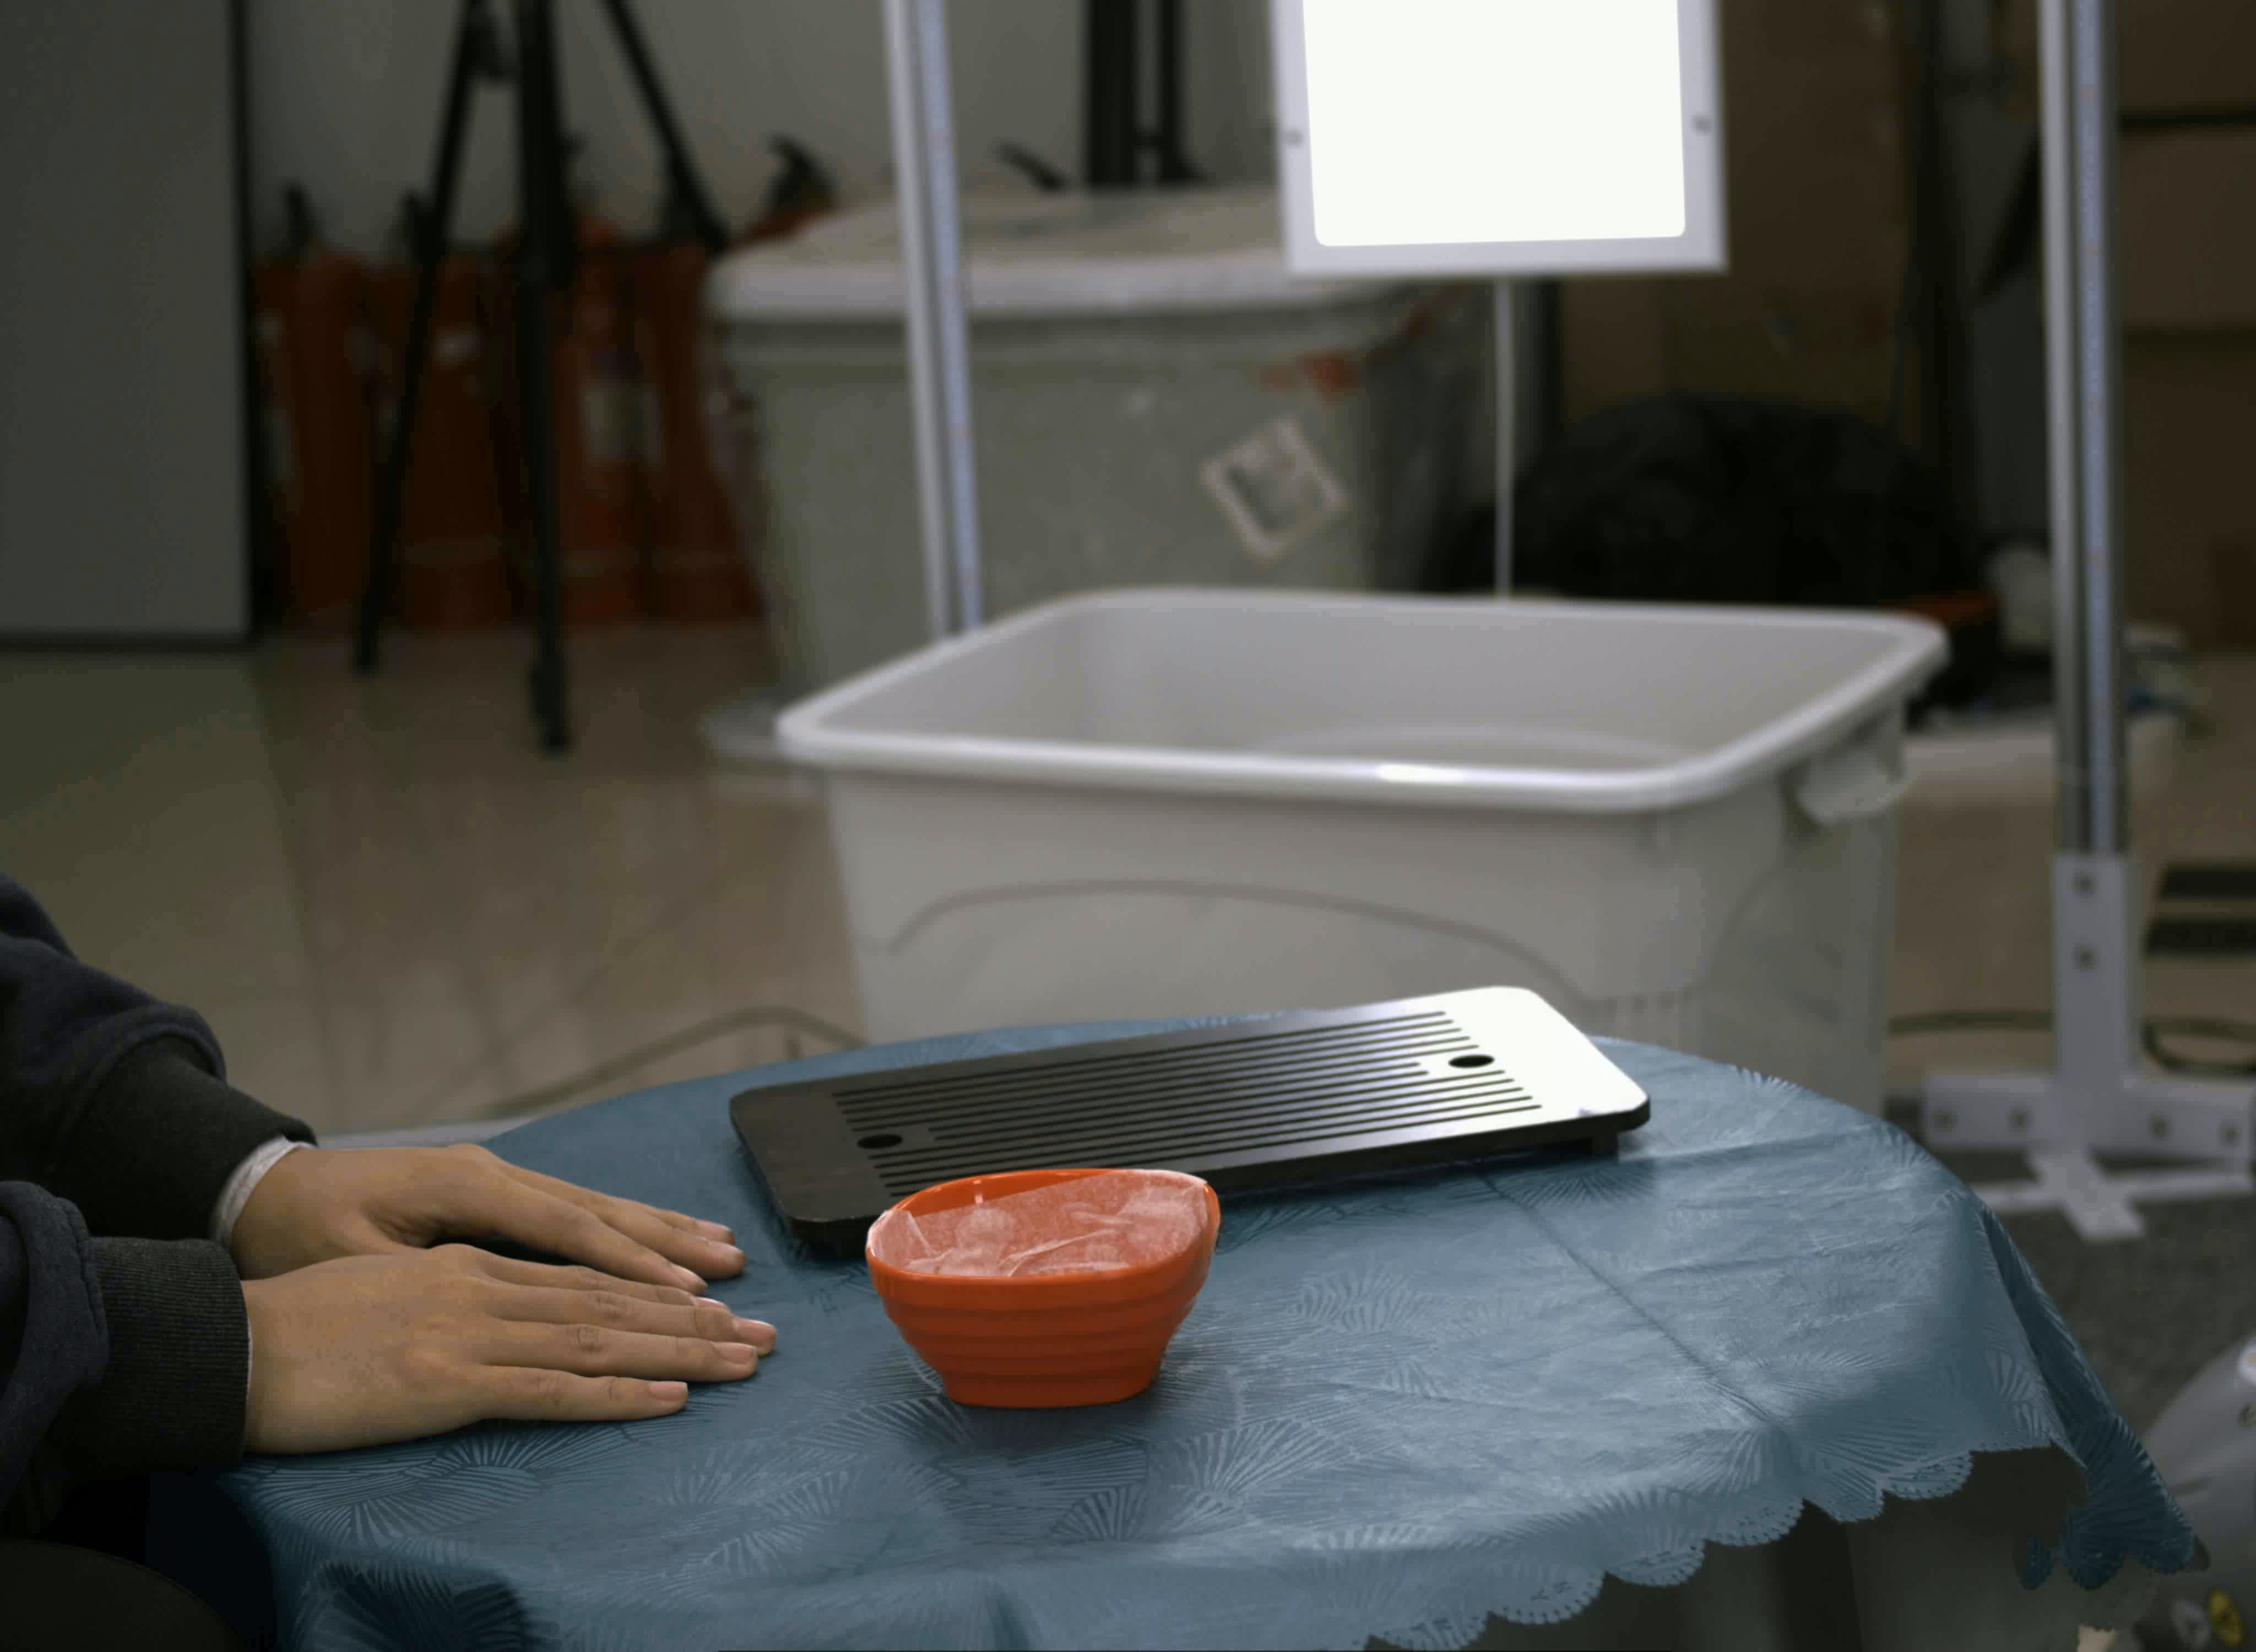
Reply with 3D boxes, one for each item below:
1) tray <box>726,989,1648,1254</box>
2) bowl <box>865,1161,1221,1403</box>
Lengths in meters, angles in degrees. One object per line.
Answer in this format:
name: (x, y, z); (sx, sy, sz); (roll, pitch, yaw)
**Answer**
tray: (0.018, 0.104, 1.946); (0.303, 0.019, 0.171); (-8, 14, -9)
bowl: (-0.025, 0.145, 1.717); (0.118, 0.051, 0.119); (-4, 15, 0)
